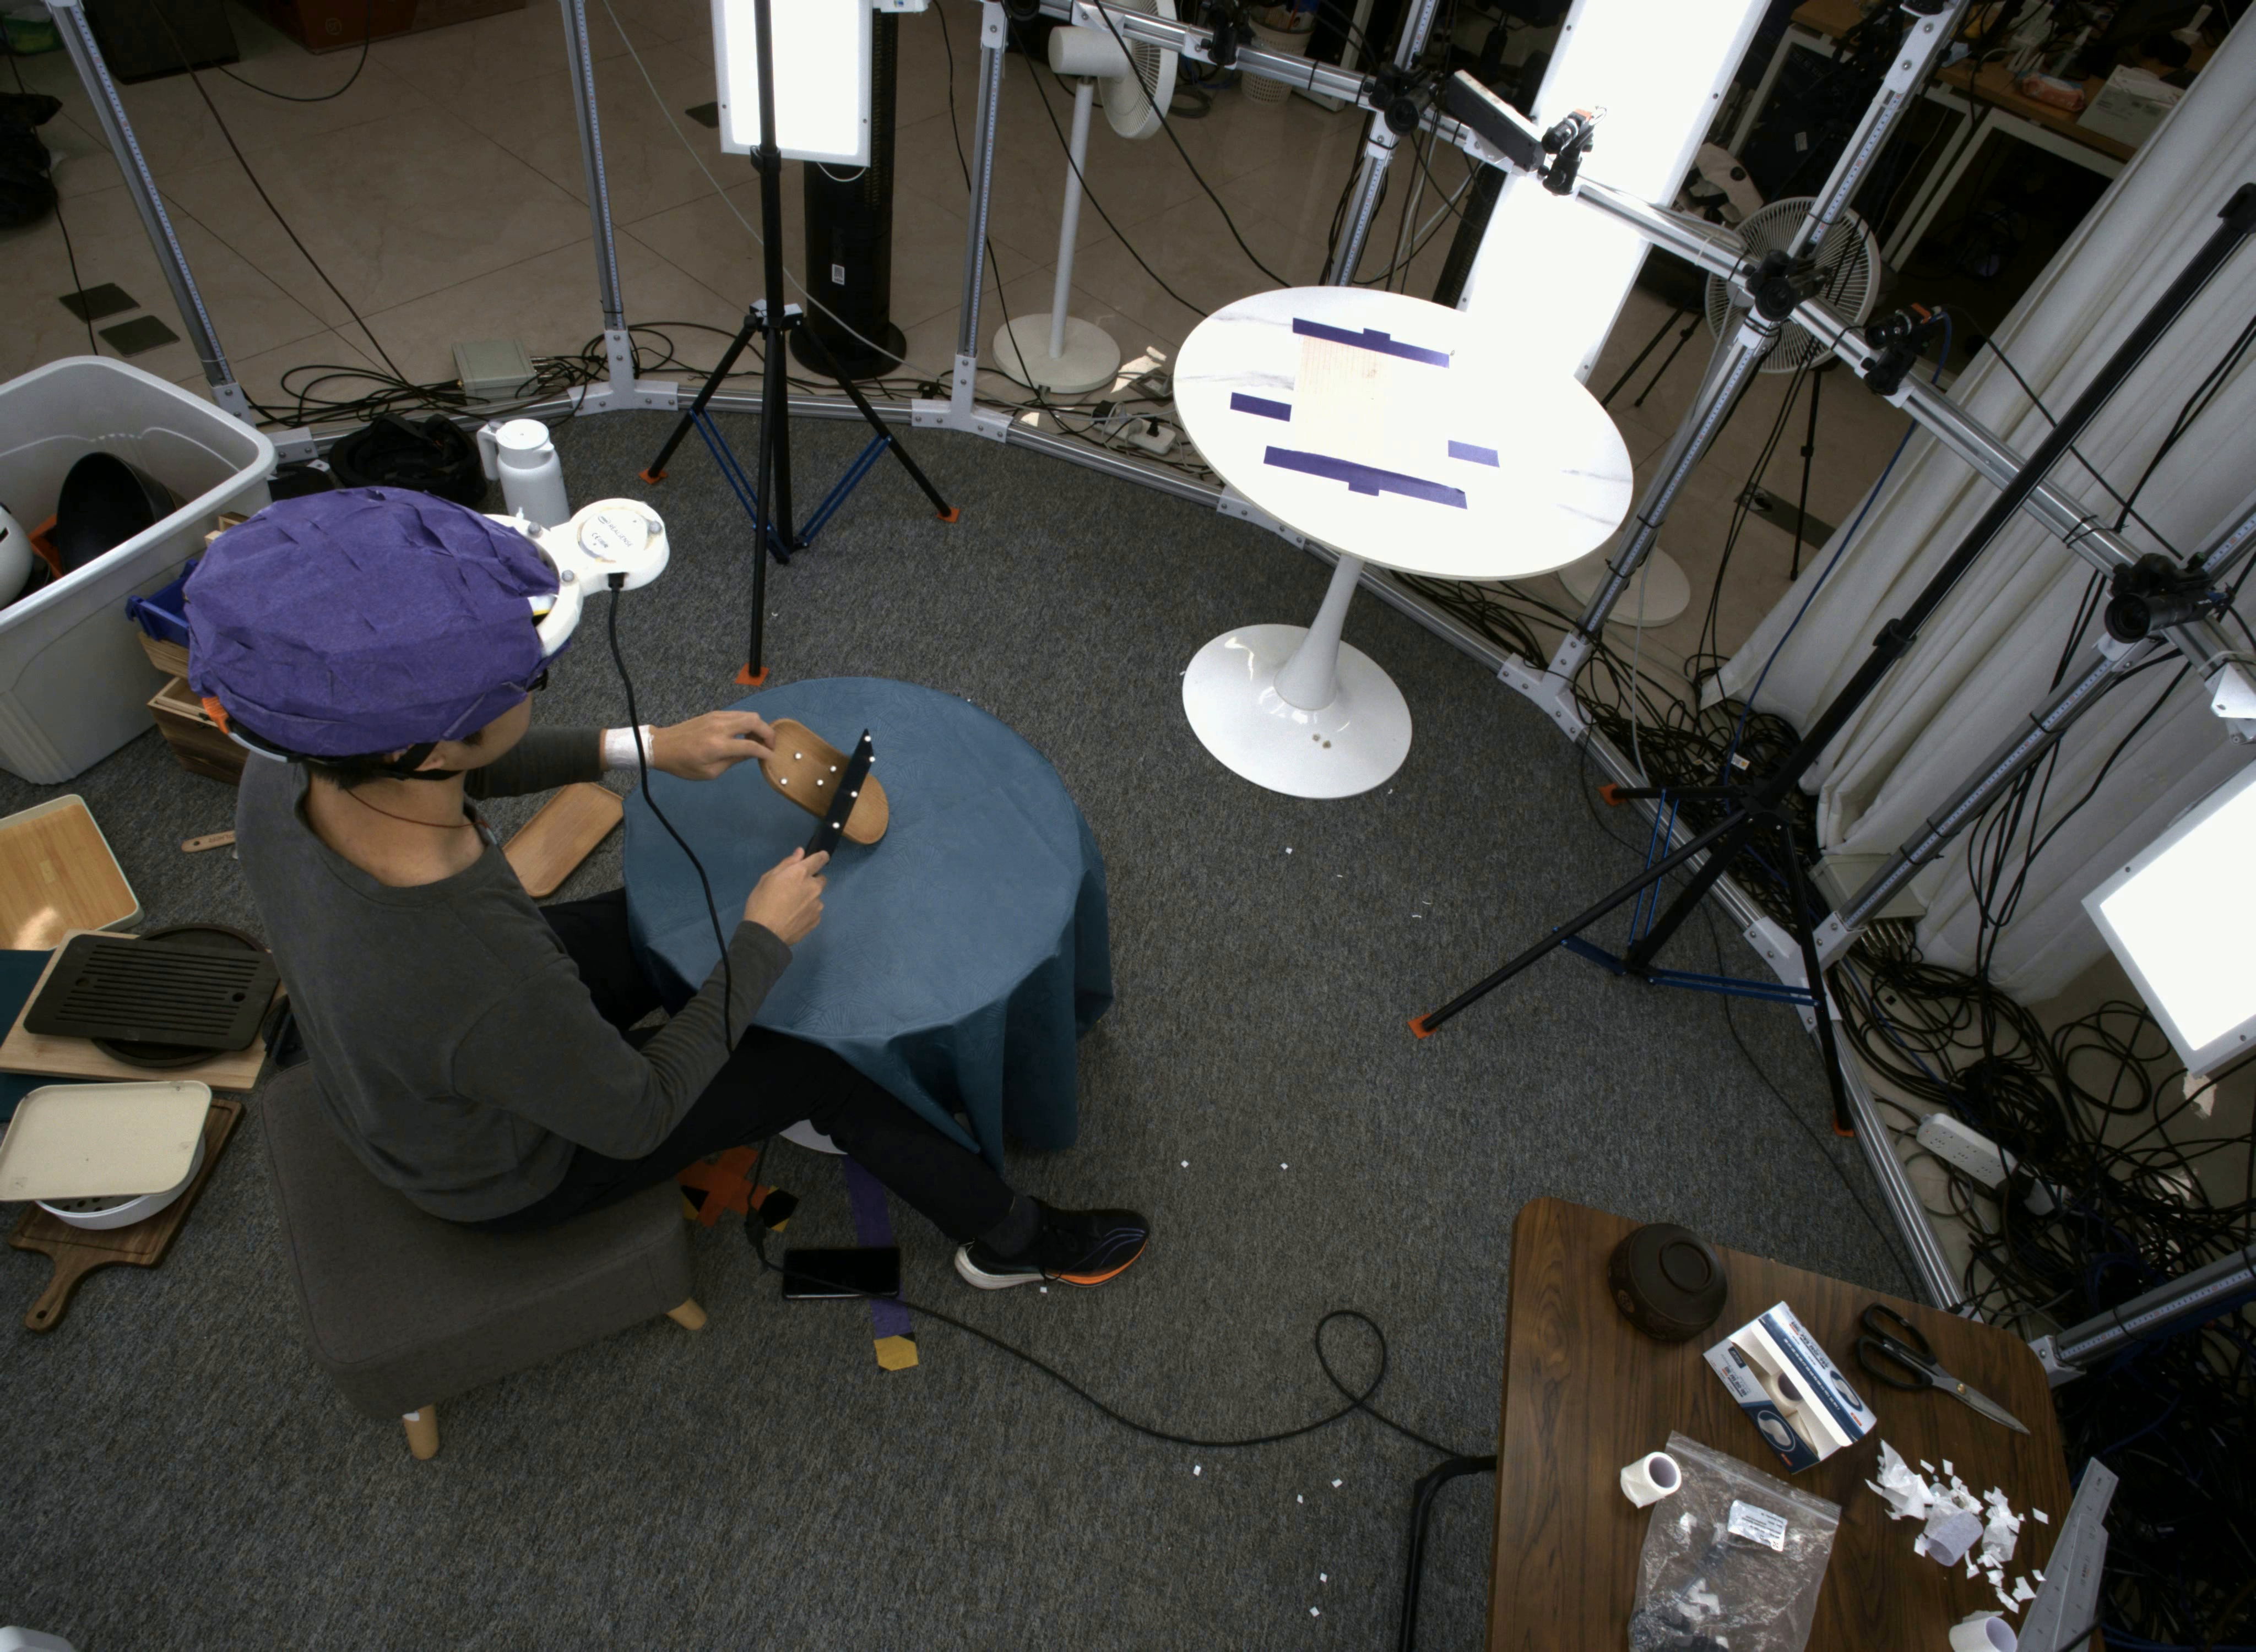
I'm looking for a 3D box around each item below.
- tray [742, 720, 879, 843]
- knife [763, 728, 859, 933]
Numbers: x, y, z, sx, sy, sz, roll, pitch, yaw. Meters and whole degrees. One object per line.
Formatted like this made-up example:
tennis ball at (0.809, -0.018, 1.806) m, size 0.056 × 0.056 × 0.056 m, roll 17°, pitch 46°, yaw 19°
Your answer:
tray at (-0.405, -0.055, 1.666) m, size 0.020 × 0.239 × 0.101 m, roll -9°, pitch 63°, yaw 30°
knife at (-0.390, 0.004, 1.616) m, size 0.020 × 0.083 × 0.298 m, roll 9°, pitch 50°, yaw 8°
